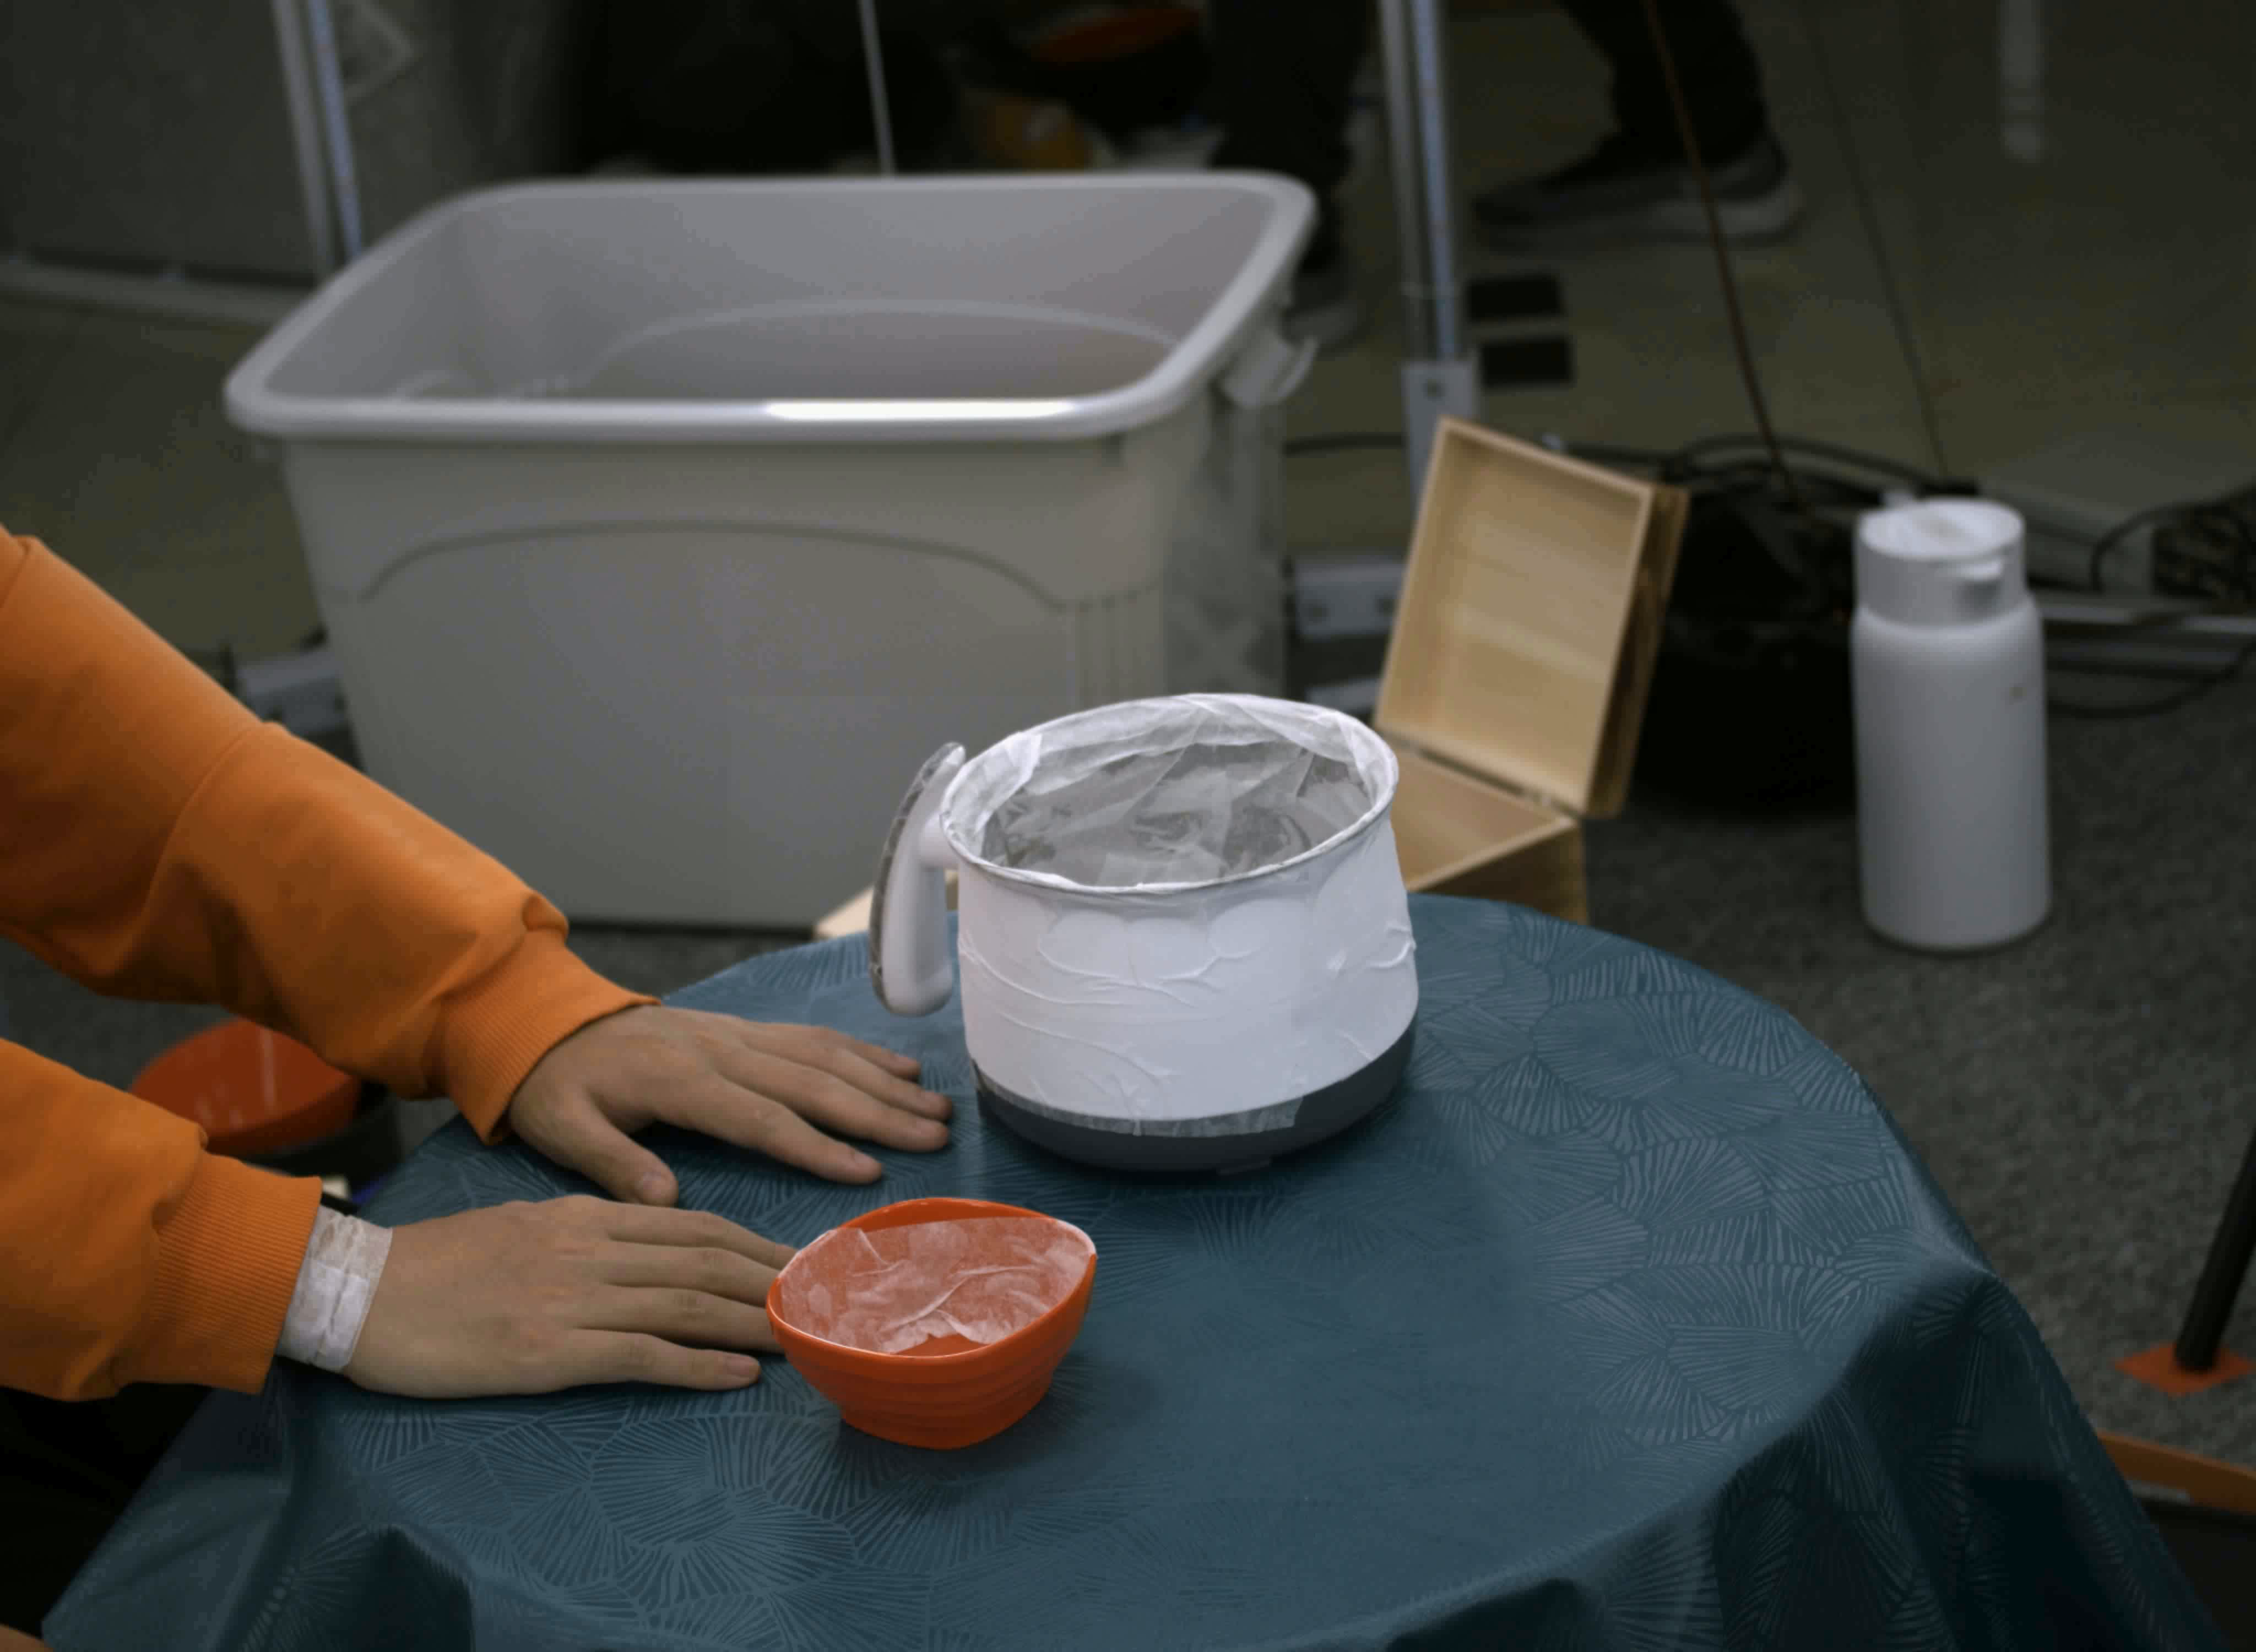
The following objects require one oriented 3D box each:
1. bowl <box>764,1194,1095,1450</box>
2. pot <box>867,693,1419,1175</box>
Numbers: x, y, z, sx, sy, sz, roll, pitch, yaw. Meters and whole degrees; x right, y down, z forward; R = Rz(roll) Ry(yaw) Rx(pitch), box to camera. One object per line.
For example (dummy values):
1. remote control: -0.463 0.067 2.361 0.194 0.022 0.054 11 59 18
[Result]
1. bowl: -0.068 0.180 2.013 0.119 0.052 0.117 -5 27 2
2. pot: -0.002 0.039 2.196 0.232 0.139 0.176 9 29 29
